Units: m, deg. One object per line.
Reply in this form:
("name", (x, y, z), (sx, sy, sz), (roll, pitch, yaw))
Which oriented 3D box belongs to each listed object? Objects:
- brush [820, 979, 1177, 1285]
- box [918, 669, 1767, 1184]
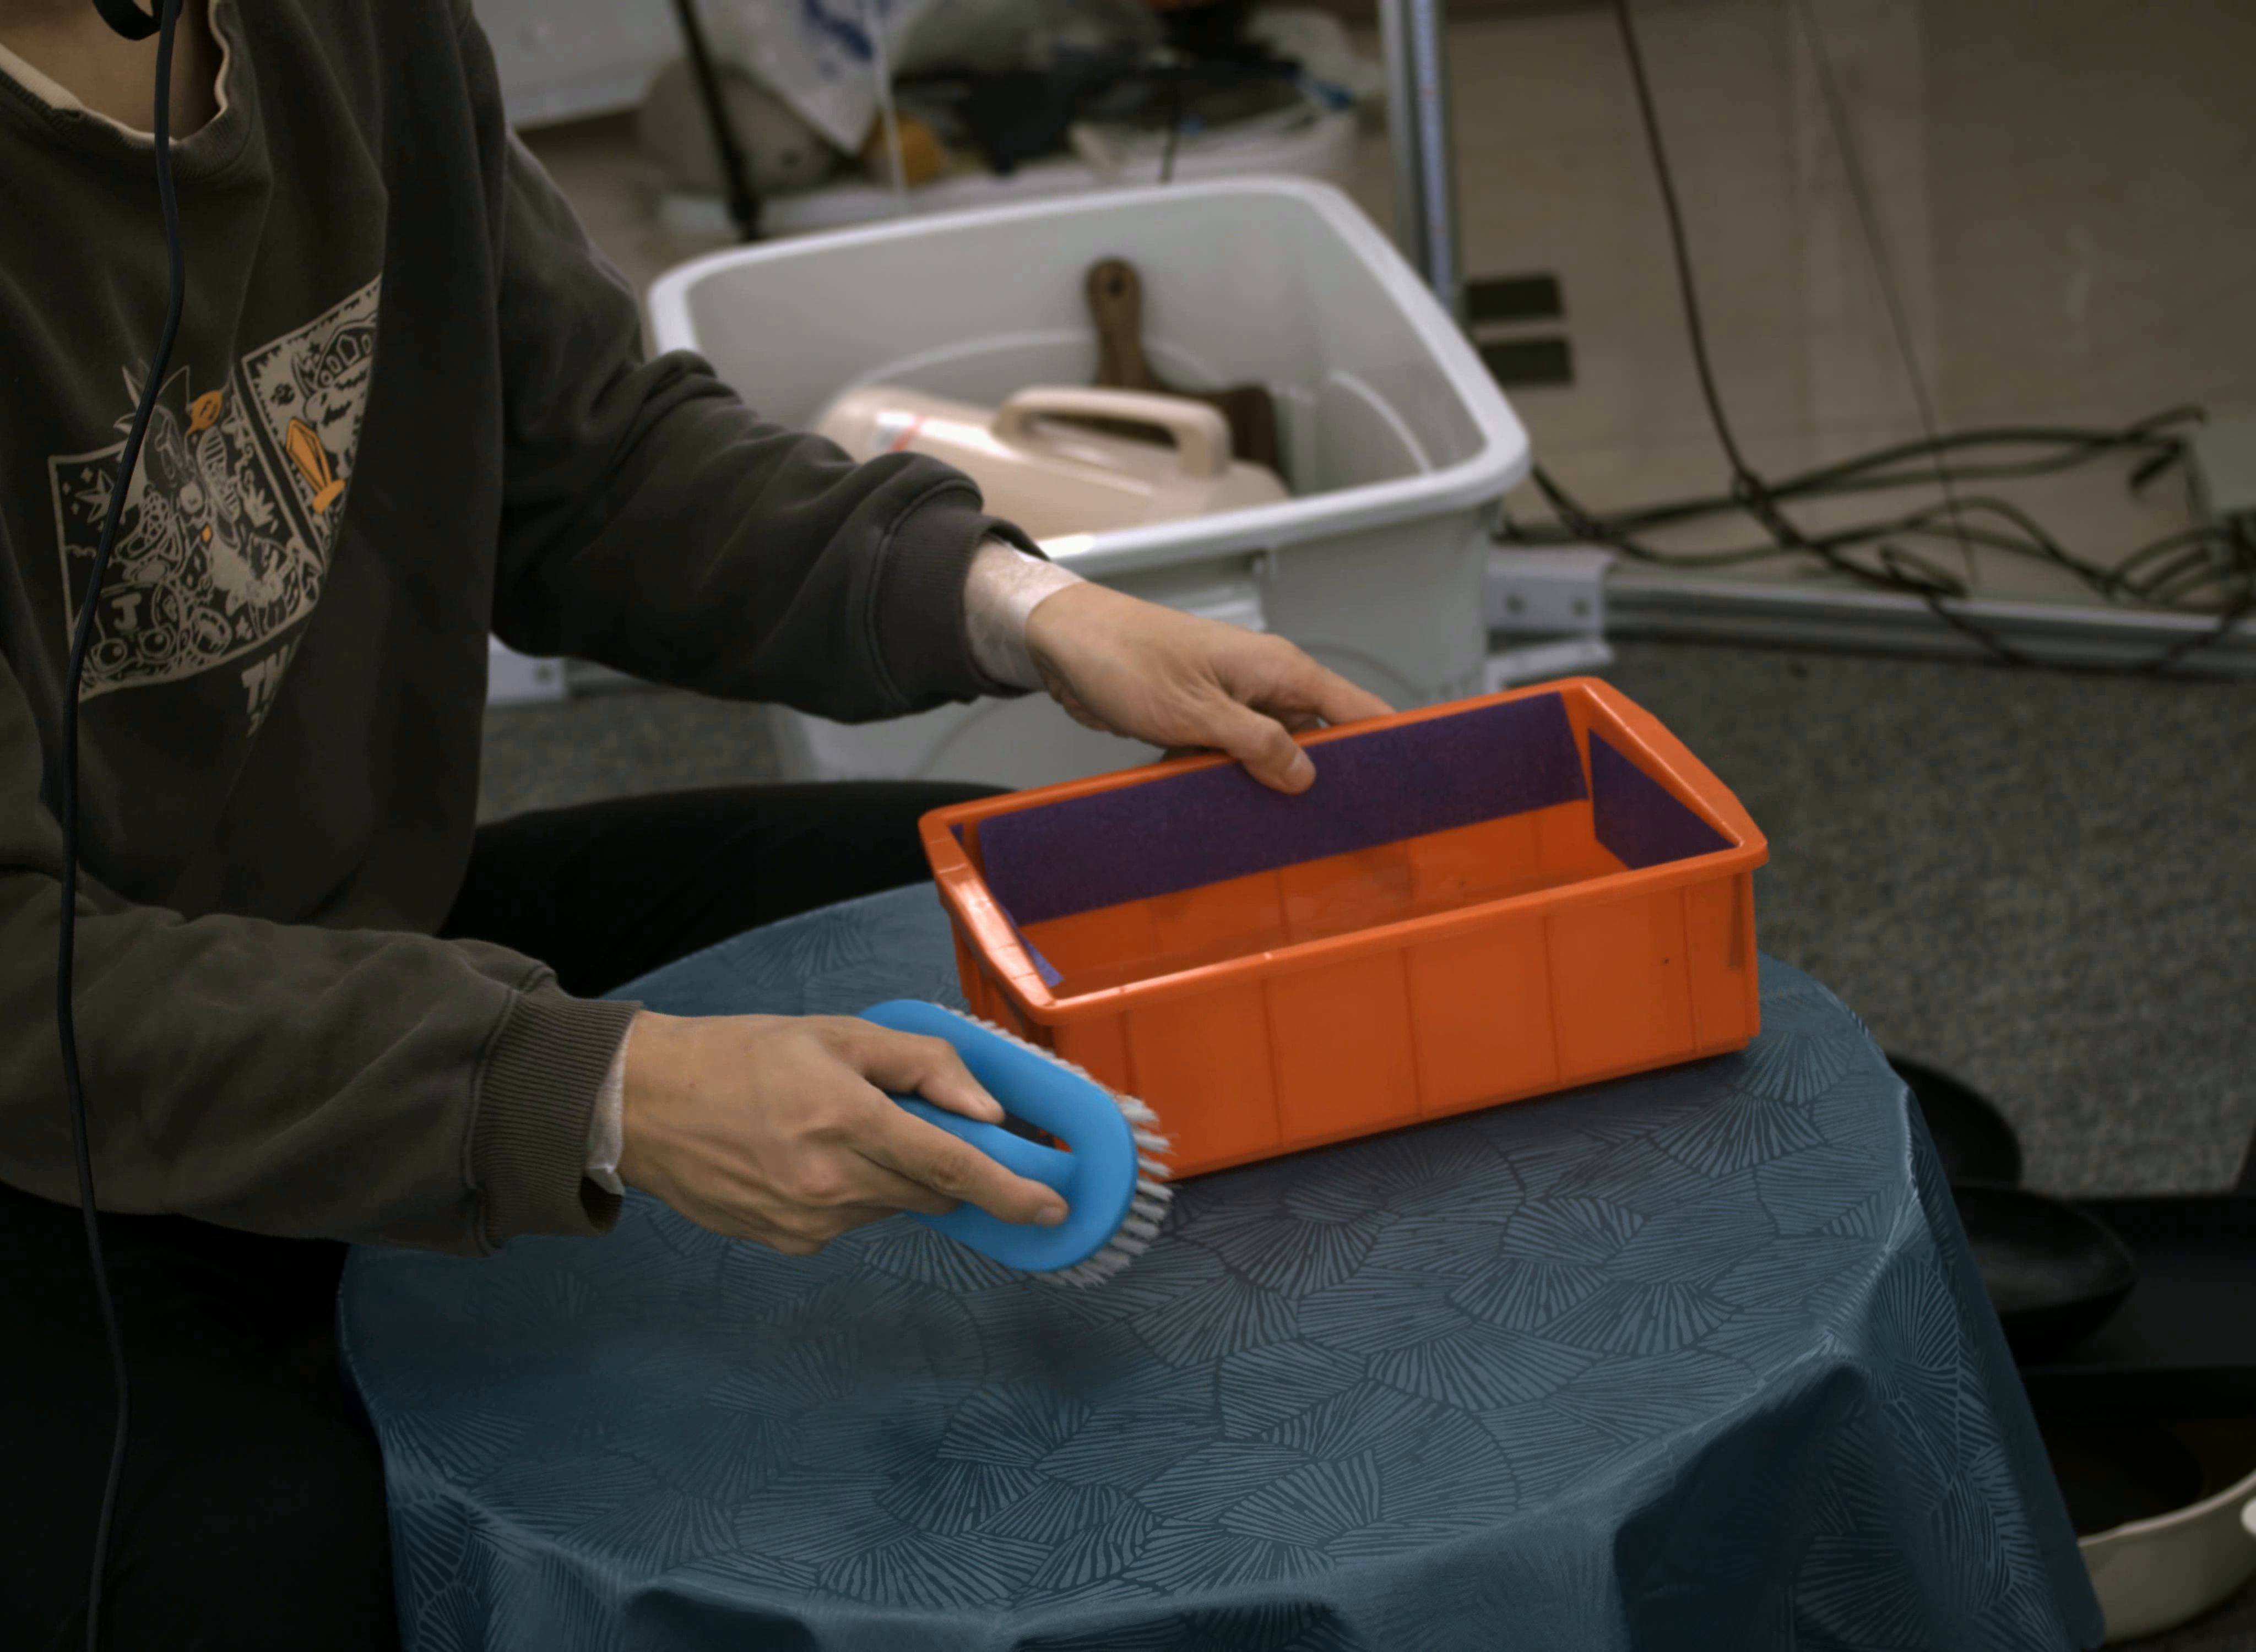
("brush", (-0.056, 0.108, 2.027), (0.140, 0.085, 0.064), (29, 8, 28))
("box", (0.084, 0.043, 2.225), (0.303, 0.098, 0.204), (-12, 24, -11))
